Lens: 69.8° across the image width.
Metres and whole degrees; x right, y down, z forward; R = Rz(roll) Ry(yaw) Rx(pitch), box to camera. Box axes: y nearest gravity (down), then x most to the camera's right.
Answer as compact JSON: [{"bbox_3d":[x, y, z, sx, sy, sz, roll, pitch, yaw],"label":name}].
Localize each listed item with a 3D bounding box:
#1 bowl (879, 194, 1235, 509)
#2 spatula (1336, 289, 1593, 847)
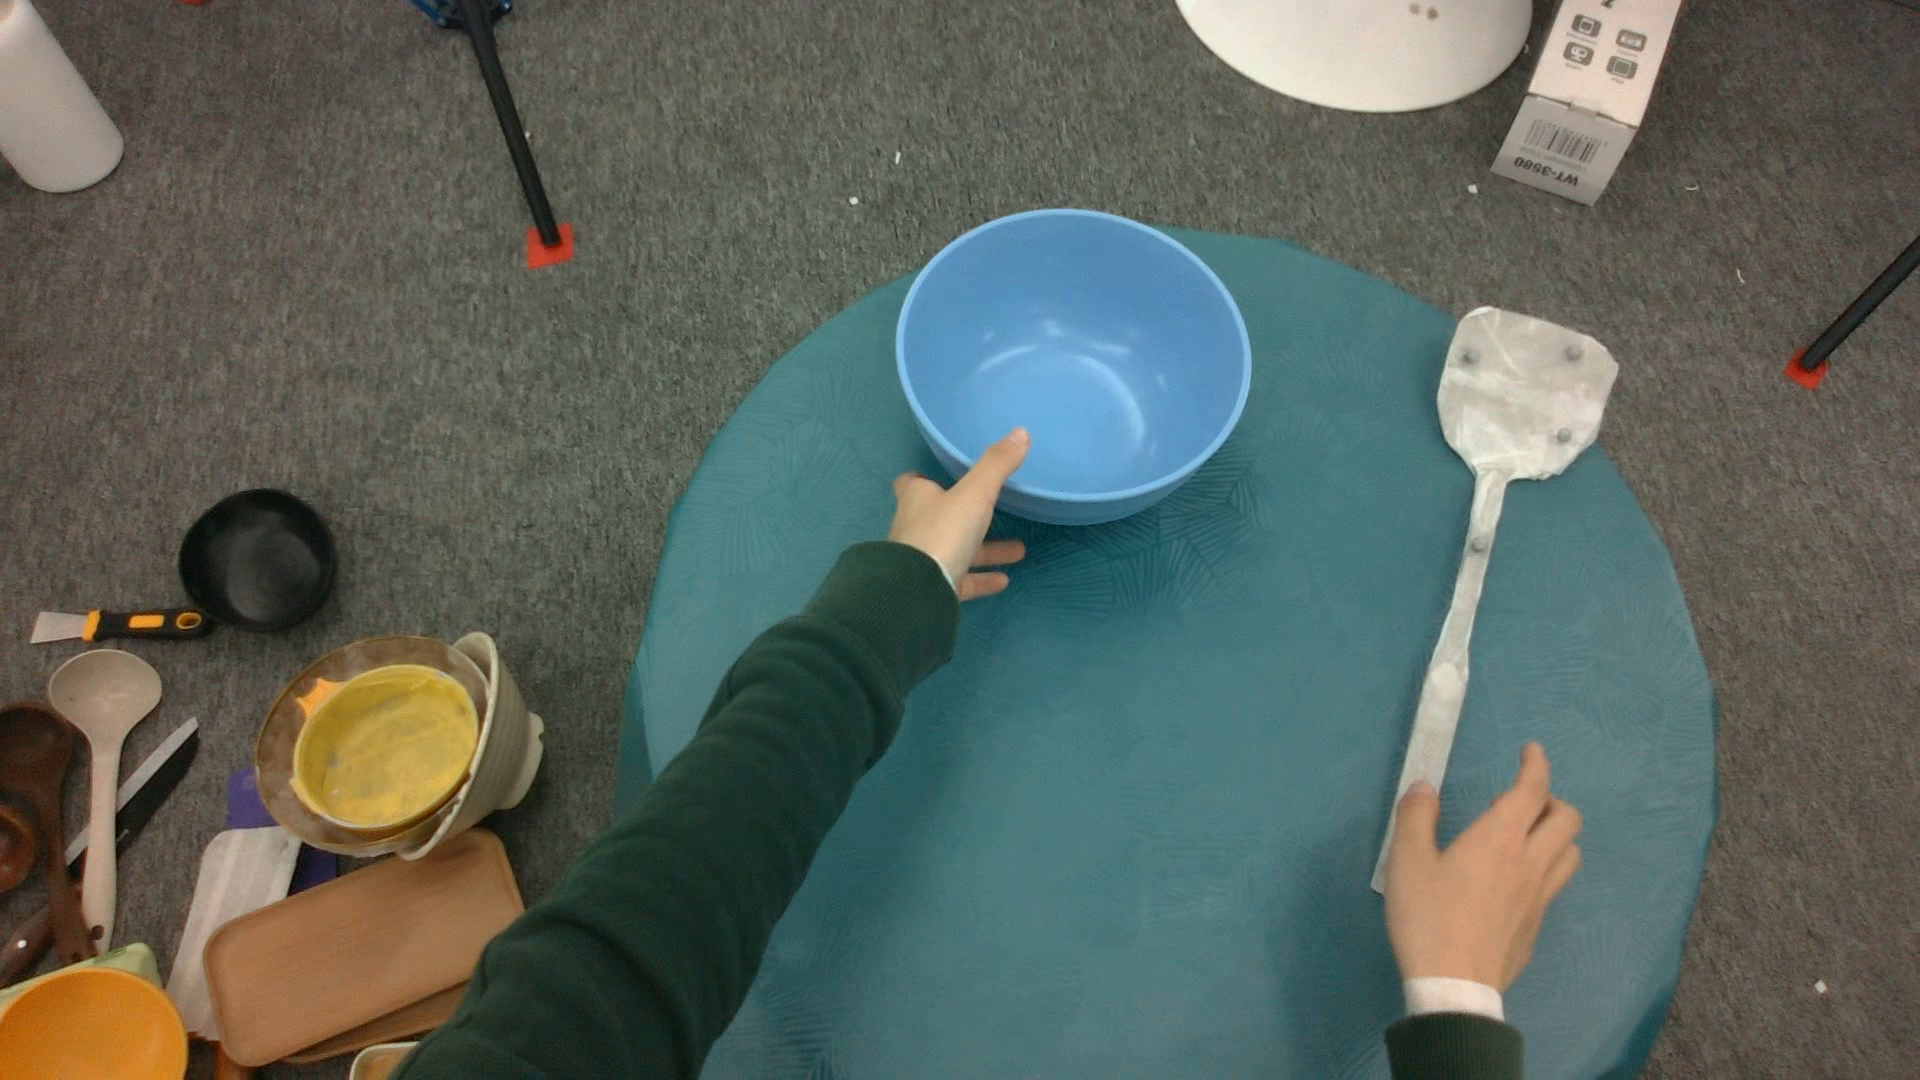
[{"bbox_3d":[0.051,-0.093,0.794,0.196,0.095,0.197,2,61,-3],"label":"bowl"},{"bbox_3d":[0.278,0.009,0.785,0.098,0.044,0.366,22,63,6],"label":"spatula"}]
